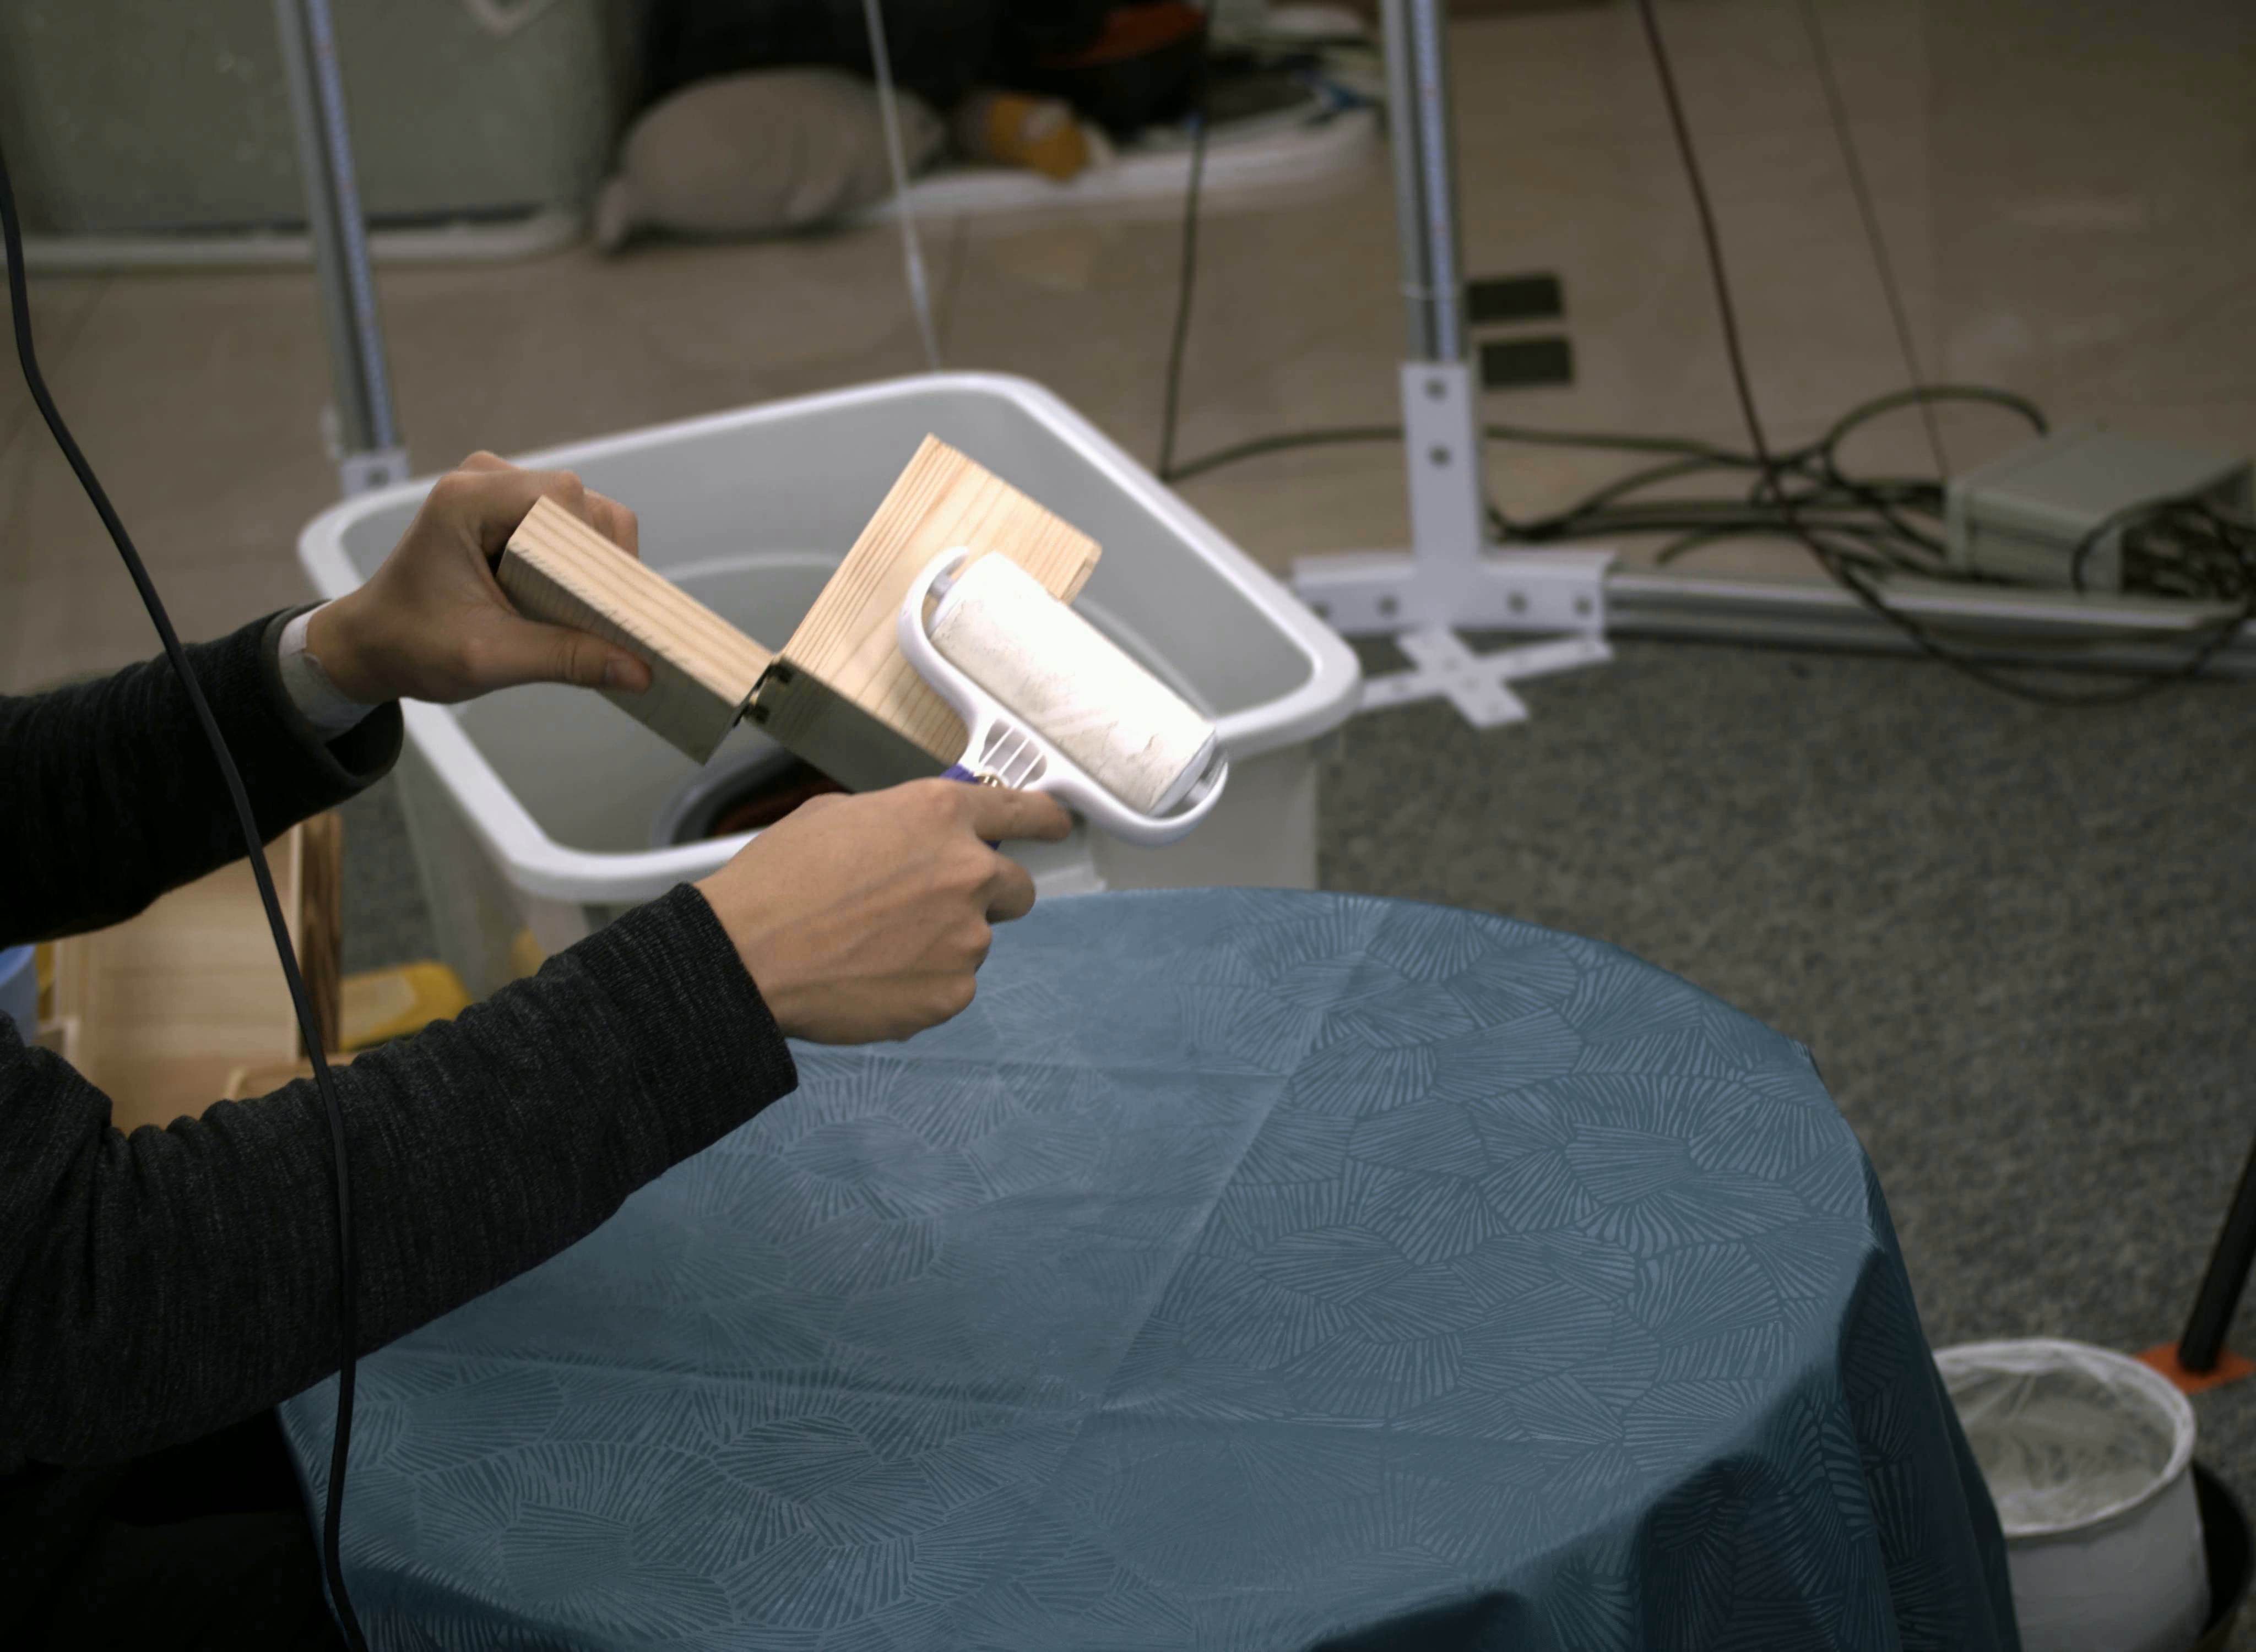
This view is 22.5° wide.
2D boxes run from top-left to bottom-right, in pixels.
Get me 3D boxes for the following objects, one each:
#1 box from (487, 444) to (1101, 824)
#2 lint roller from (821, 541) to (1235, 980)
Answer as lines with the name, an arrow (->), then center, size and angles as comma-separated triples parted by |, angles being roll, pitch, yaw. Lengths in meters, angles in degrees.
box -> -0.124, -0.089, 2.071 | 0.133, 0.184, 0.103 | -57, 2, -15
lint roller -> -0.052, -0.015, 1.963 | 0.133, 0.051, 0.178 | 40, 47, 0
